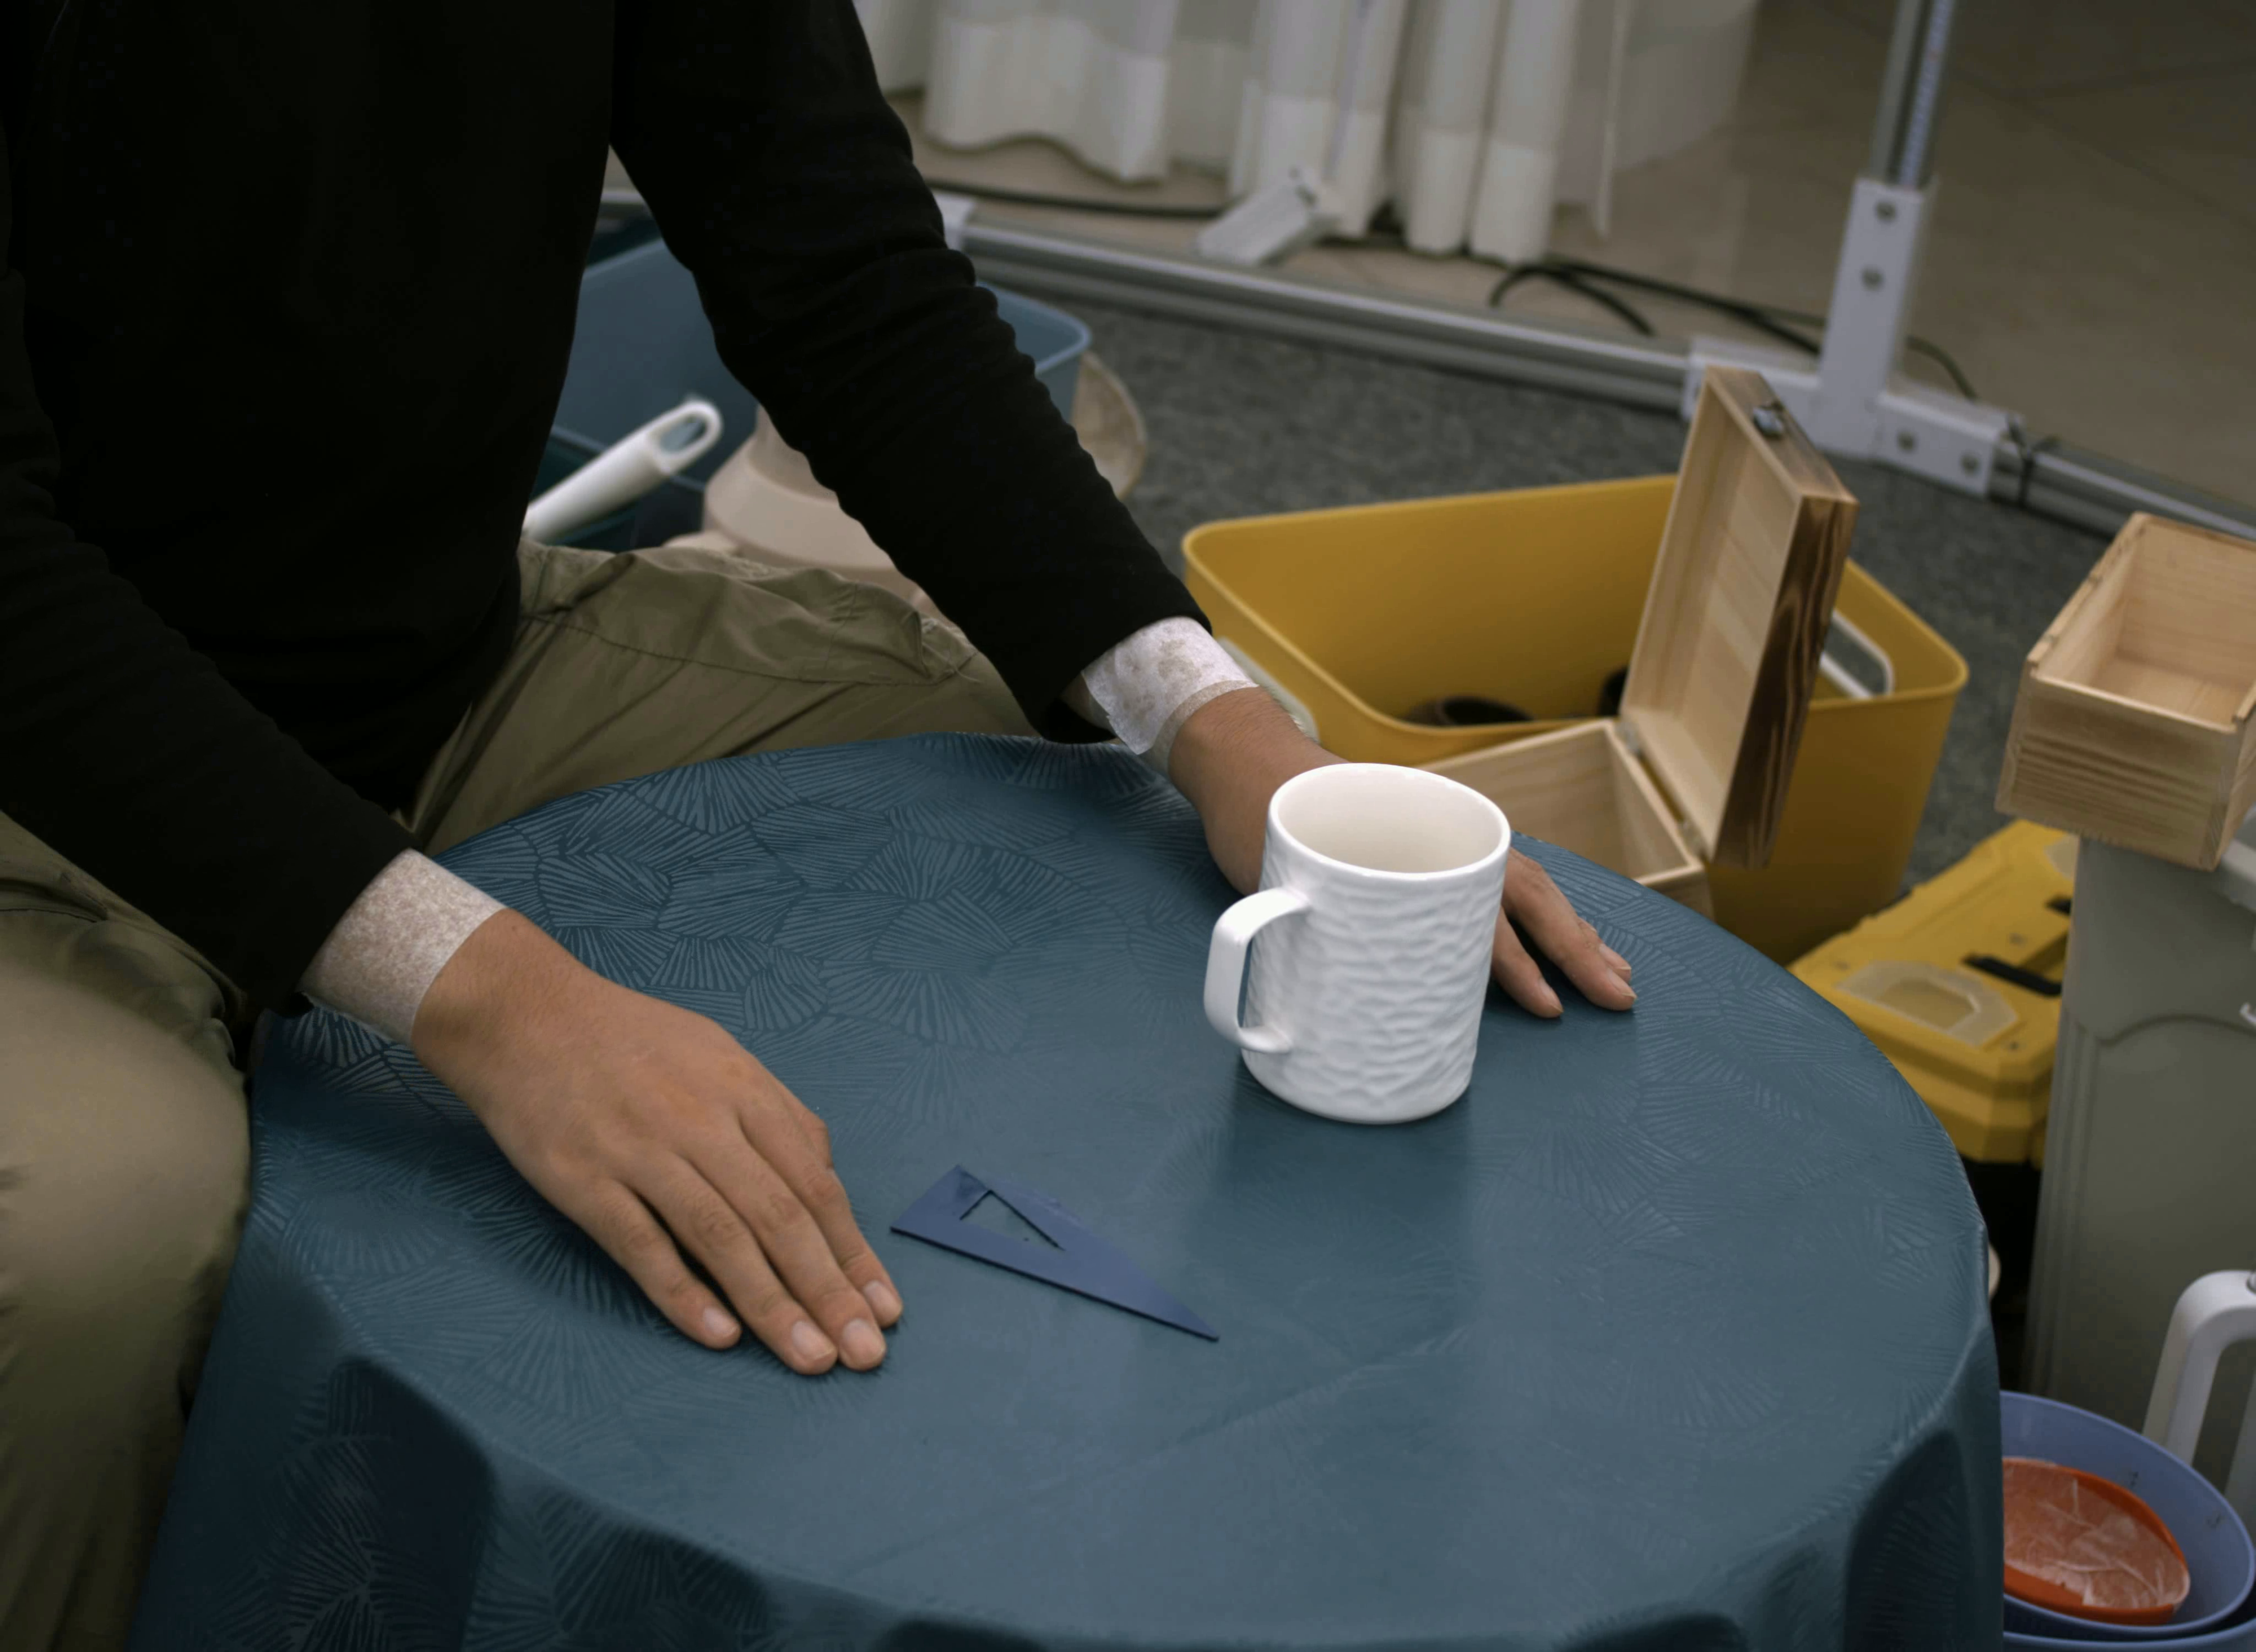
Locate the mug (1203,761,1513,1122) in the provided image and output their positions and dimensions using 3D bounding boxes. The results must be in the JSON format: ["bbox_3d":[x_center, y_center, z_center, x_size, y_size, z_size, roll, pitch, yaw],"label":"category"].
[{"bbox_3d":[0.074,0.045,1.859,0.117,0.101,0.085,-16,35,-38],"label":"mug"}]

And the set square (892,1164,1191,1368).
[{"bbox_3d":[-0.034,0.146,1.744,0.061,0.006,0.133,-8,30,-31],"label":"set square"}]
